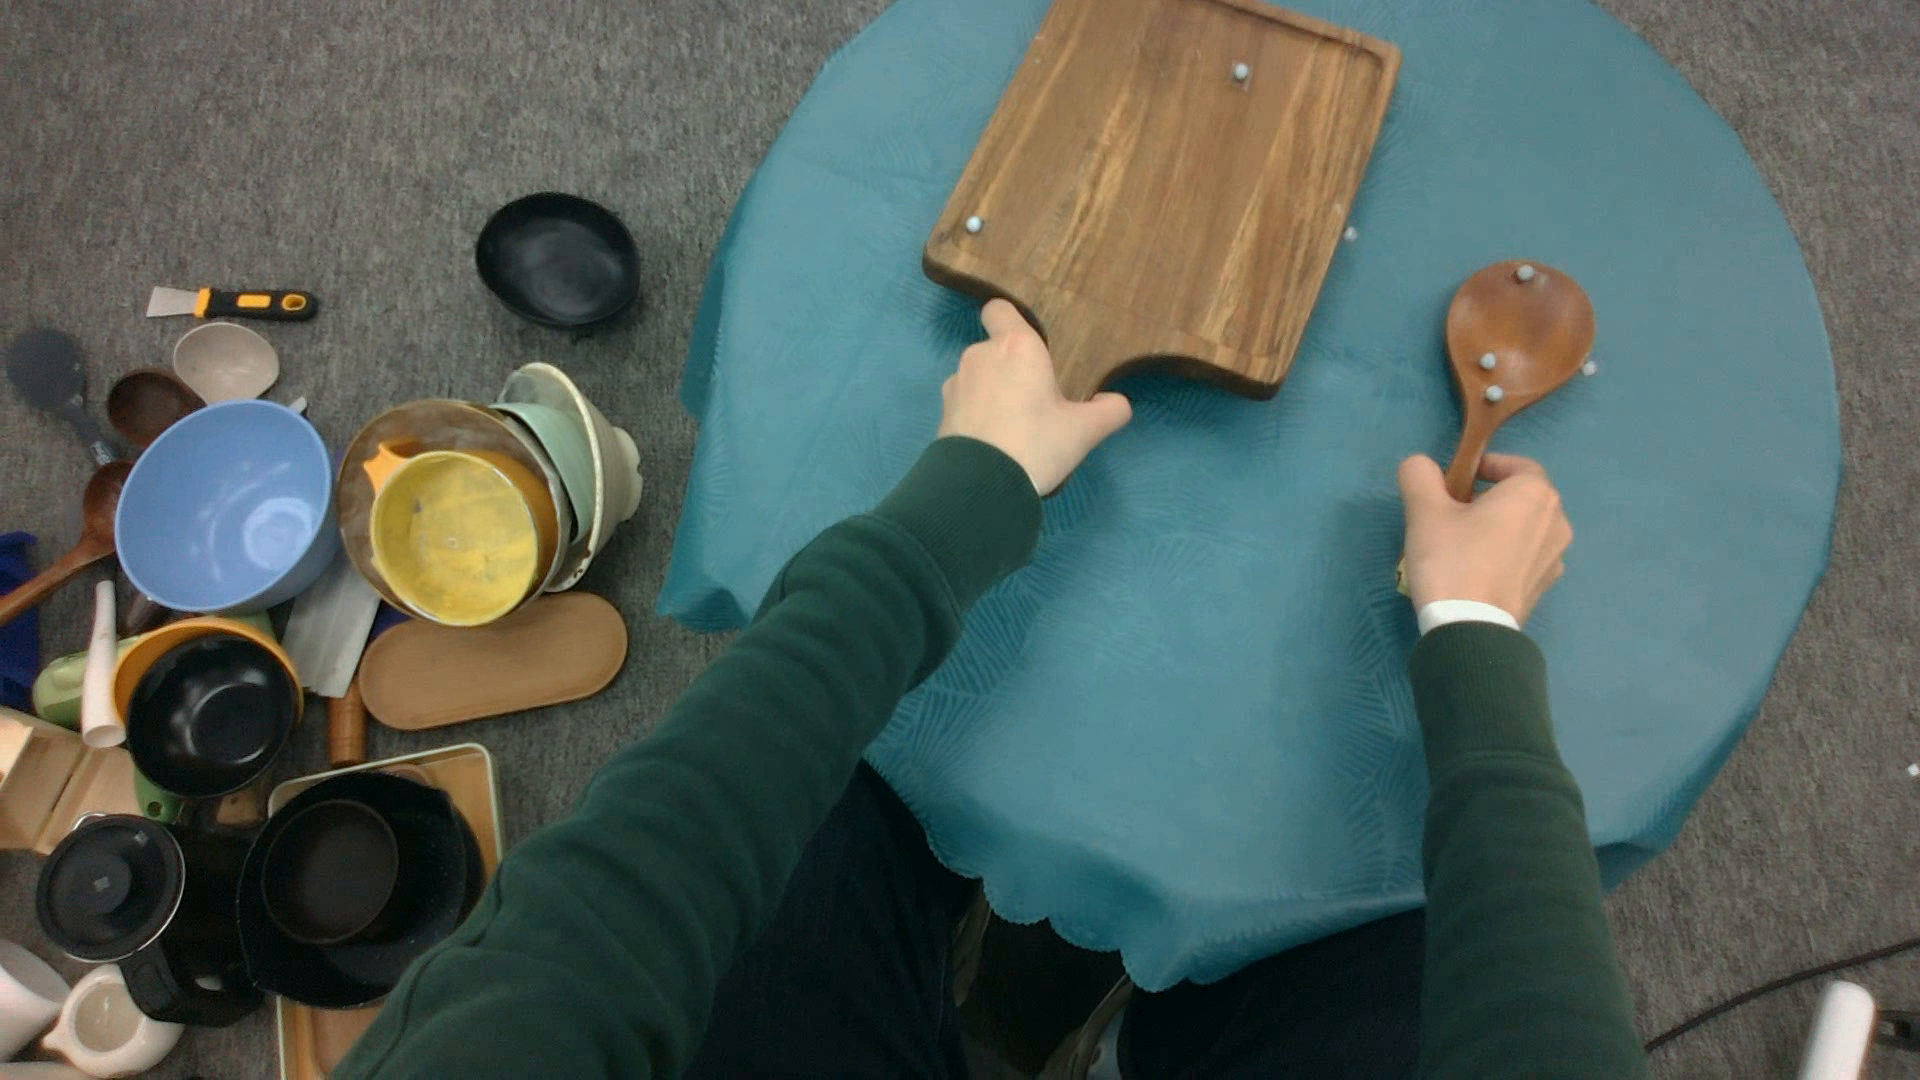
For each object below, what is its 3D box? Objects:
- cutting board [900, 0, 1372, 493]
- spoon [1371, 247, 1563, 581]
[{"bbox_3d":[0.085,-0.174,0.728,0.201,0.023,0.353,21,64,5],"label":"cutting board"},{"bbox_3d":[0.253,-0.068,0.706,0.075,0.017,0.217,23,64,11],"label":"spoon"}]
